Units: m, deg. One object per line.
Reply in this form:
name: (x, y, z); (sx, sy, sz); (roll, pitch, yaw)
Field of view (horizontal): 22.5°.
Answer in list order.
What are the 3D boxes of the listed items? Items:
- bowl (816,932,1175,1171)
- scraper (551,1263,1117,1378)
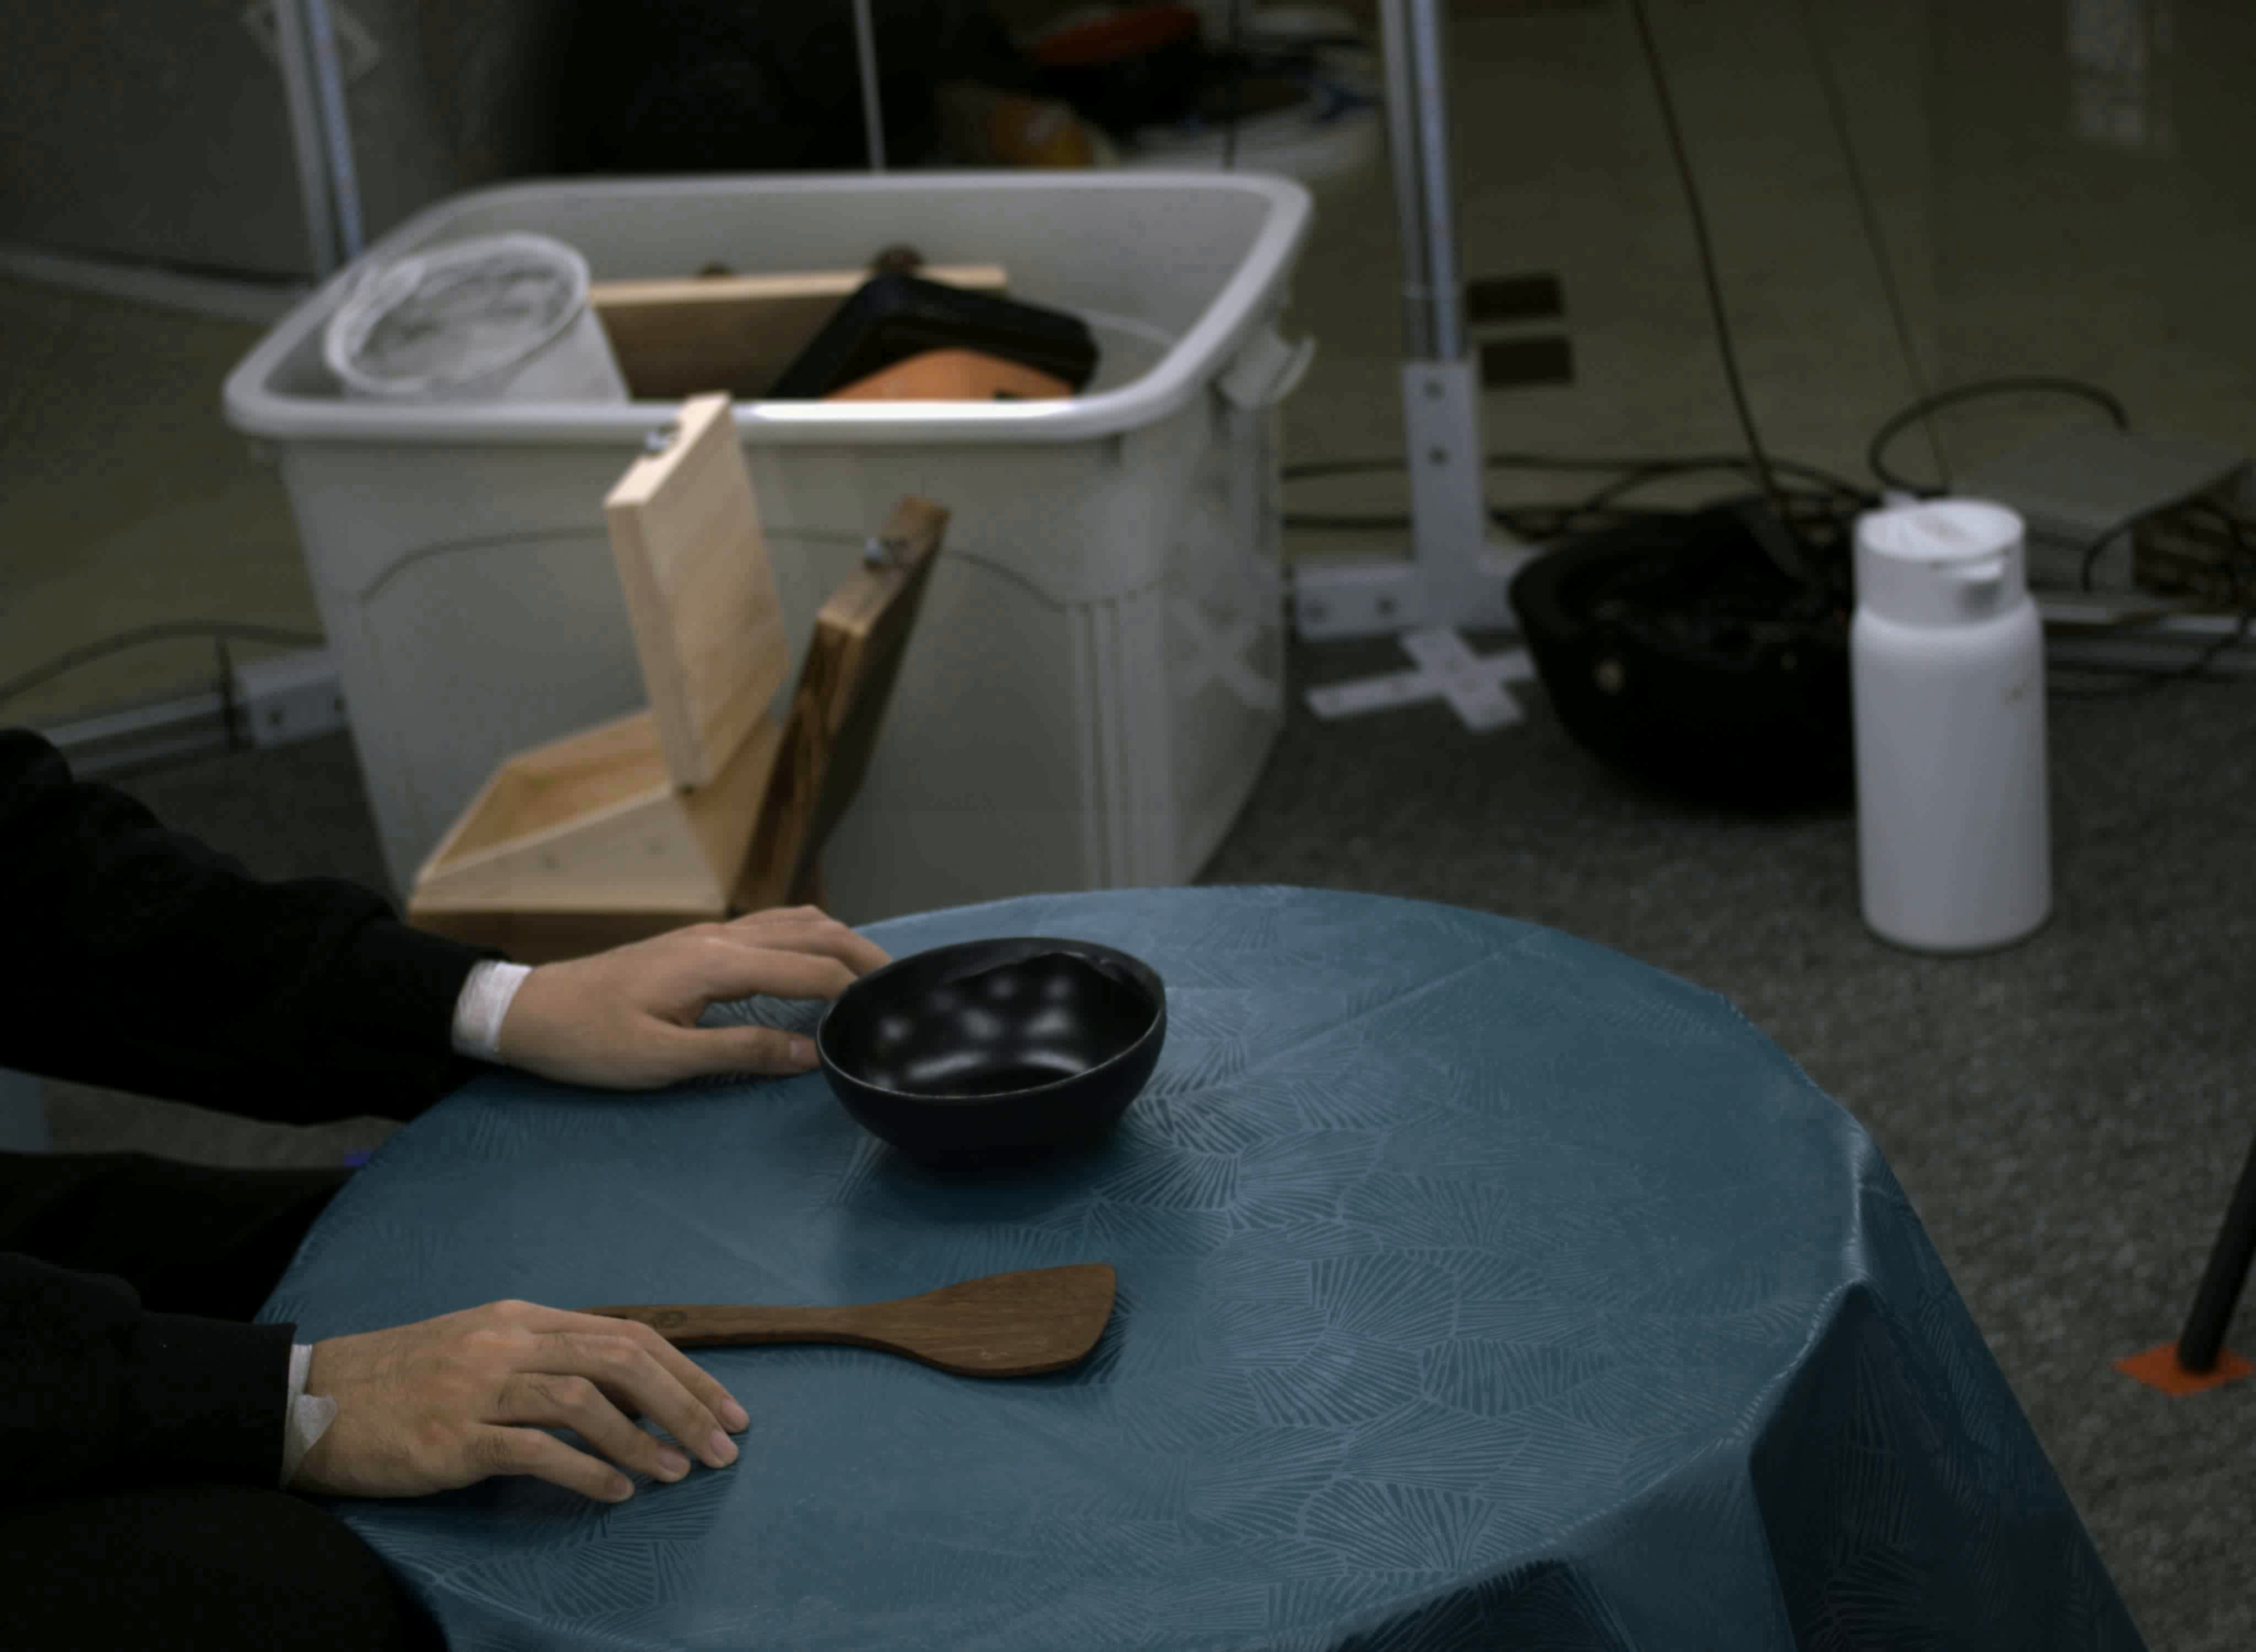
bowl: (-0.049, 0.095, 2.202); (0.140, 0.050, 0.138); (-6, 28, 3)
scraper: (-0.108, 0.183, 2.077); (0.211, 0.011, 0.075); (-2, 24, 11)
